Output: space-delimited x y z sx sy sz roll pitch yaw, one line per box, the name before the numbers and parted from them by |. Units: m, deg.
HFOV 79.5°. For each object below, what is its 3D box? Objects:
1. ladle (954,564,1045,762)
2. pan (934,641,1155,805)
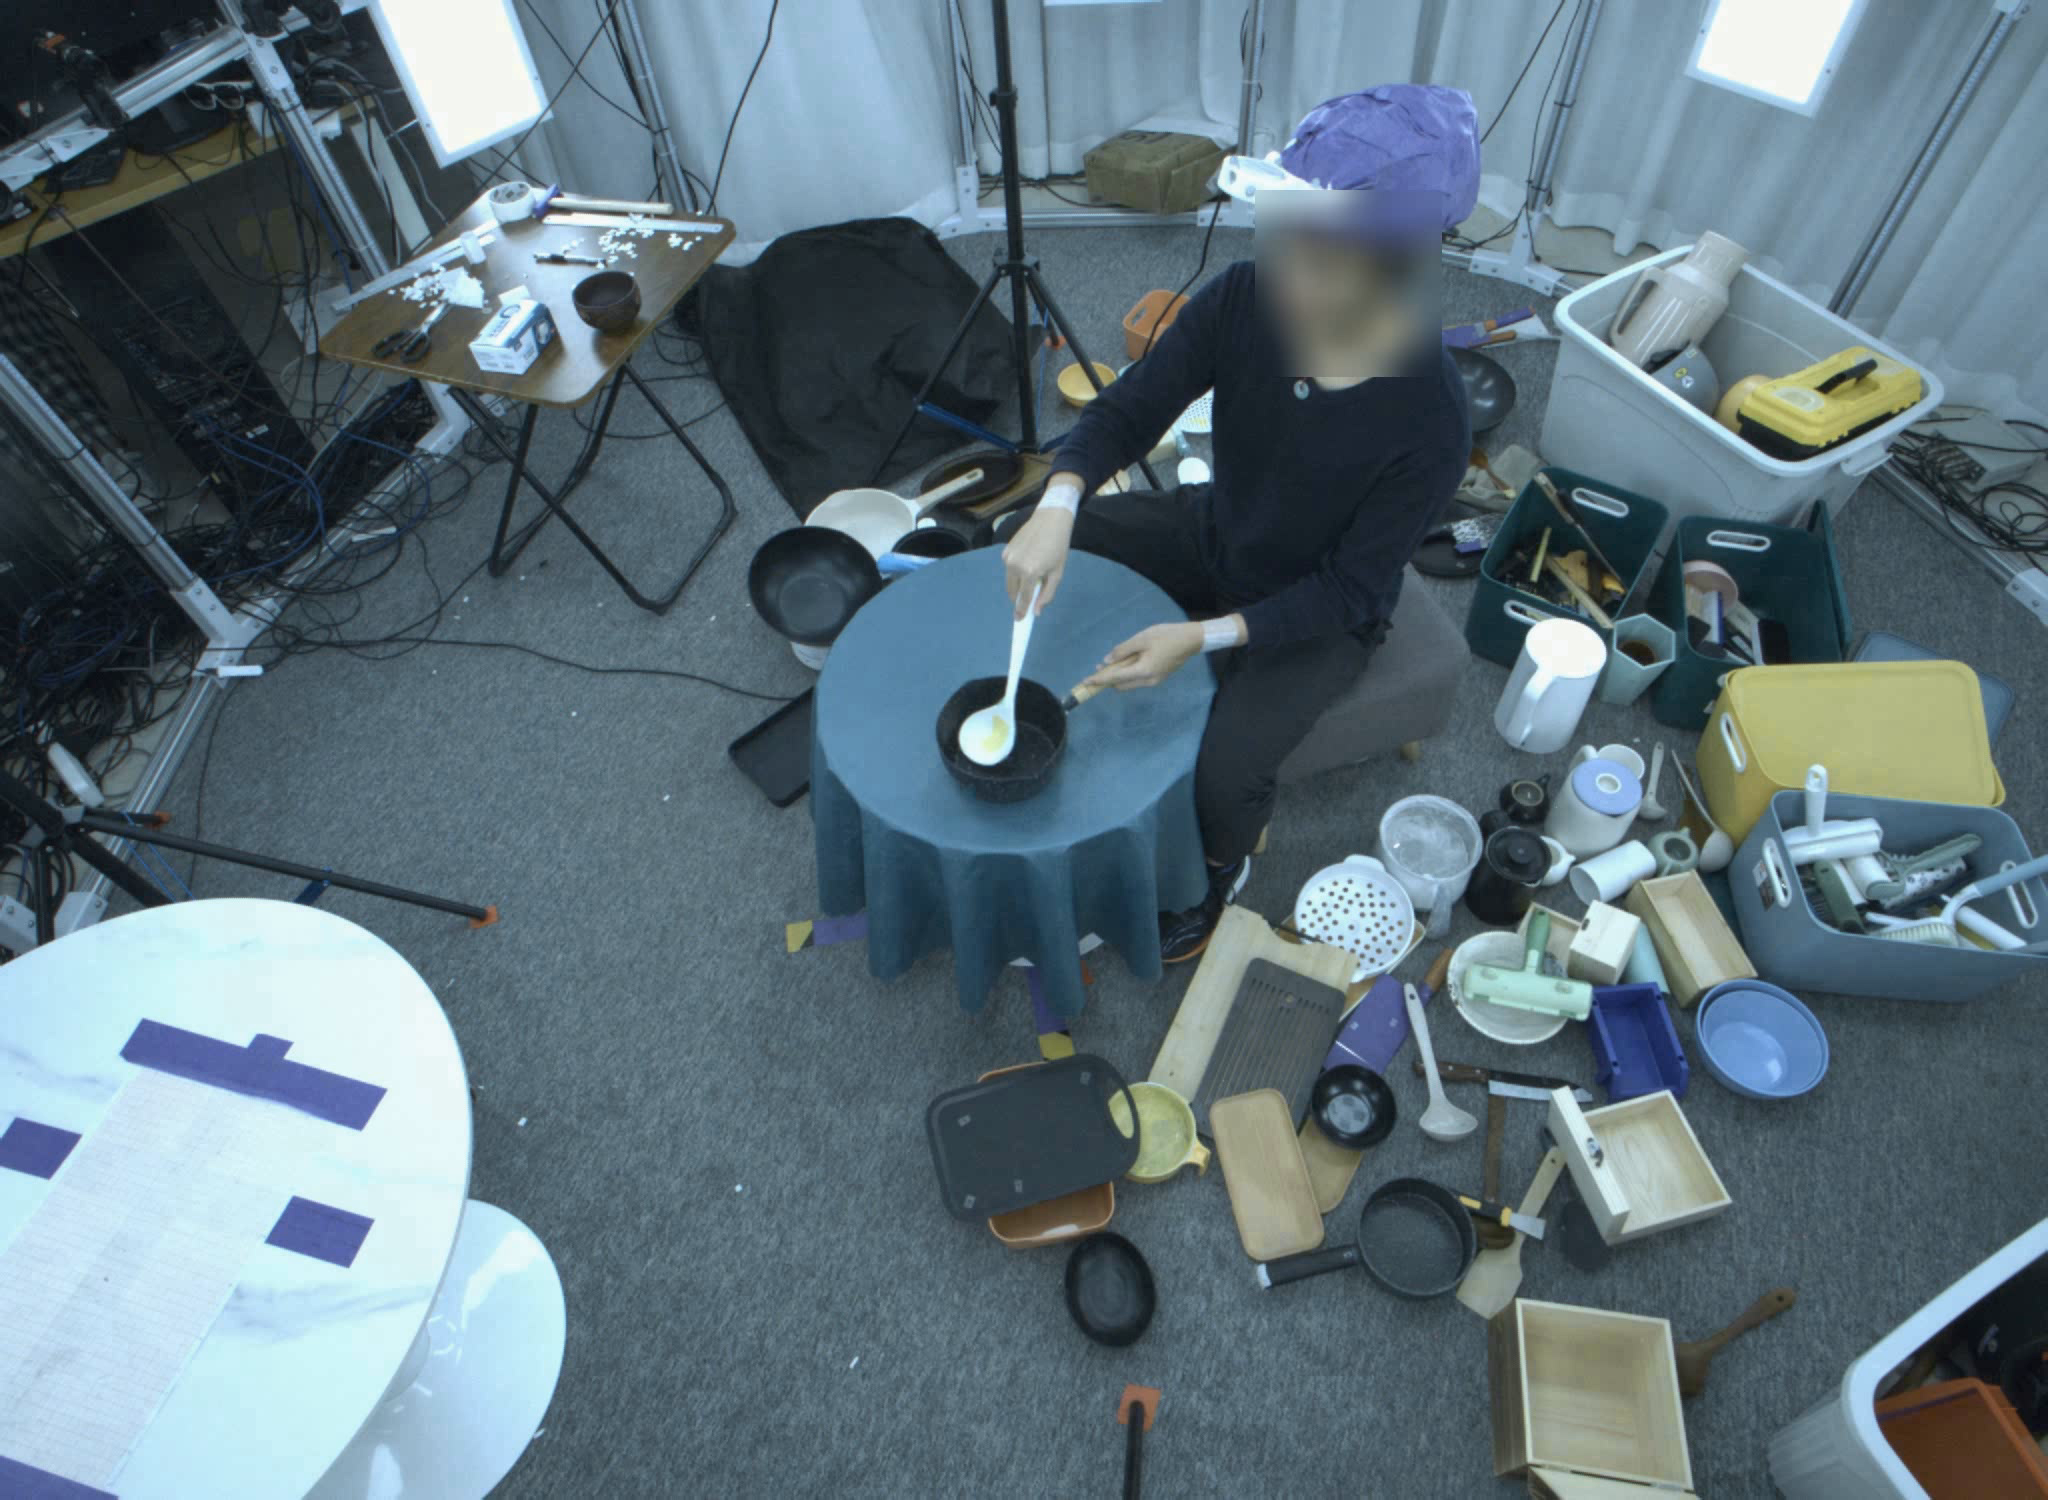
ladle | -0.032 -0.120 1.714 0.071 0.294 0.088 -16 42 -40
pan | 0.038 -0.050 1.755 0.345 0.109 0.203 -28 57 -15
